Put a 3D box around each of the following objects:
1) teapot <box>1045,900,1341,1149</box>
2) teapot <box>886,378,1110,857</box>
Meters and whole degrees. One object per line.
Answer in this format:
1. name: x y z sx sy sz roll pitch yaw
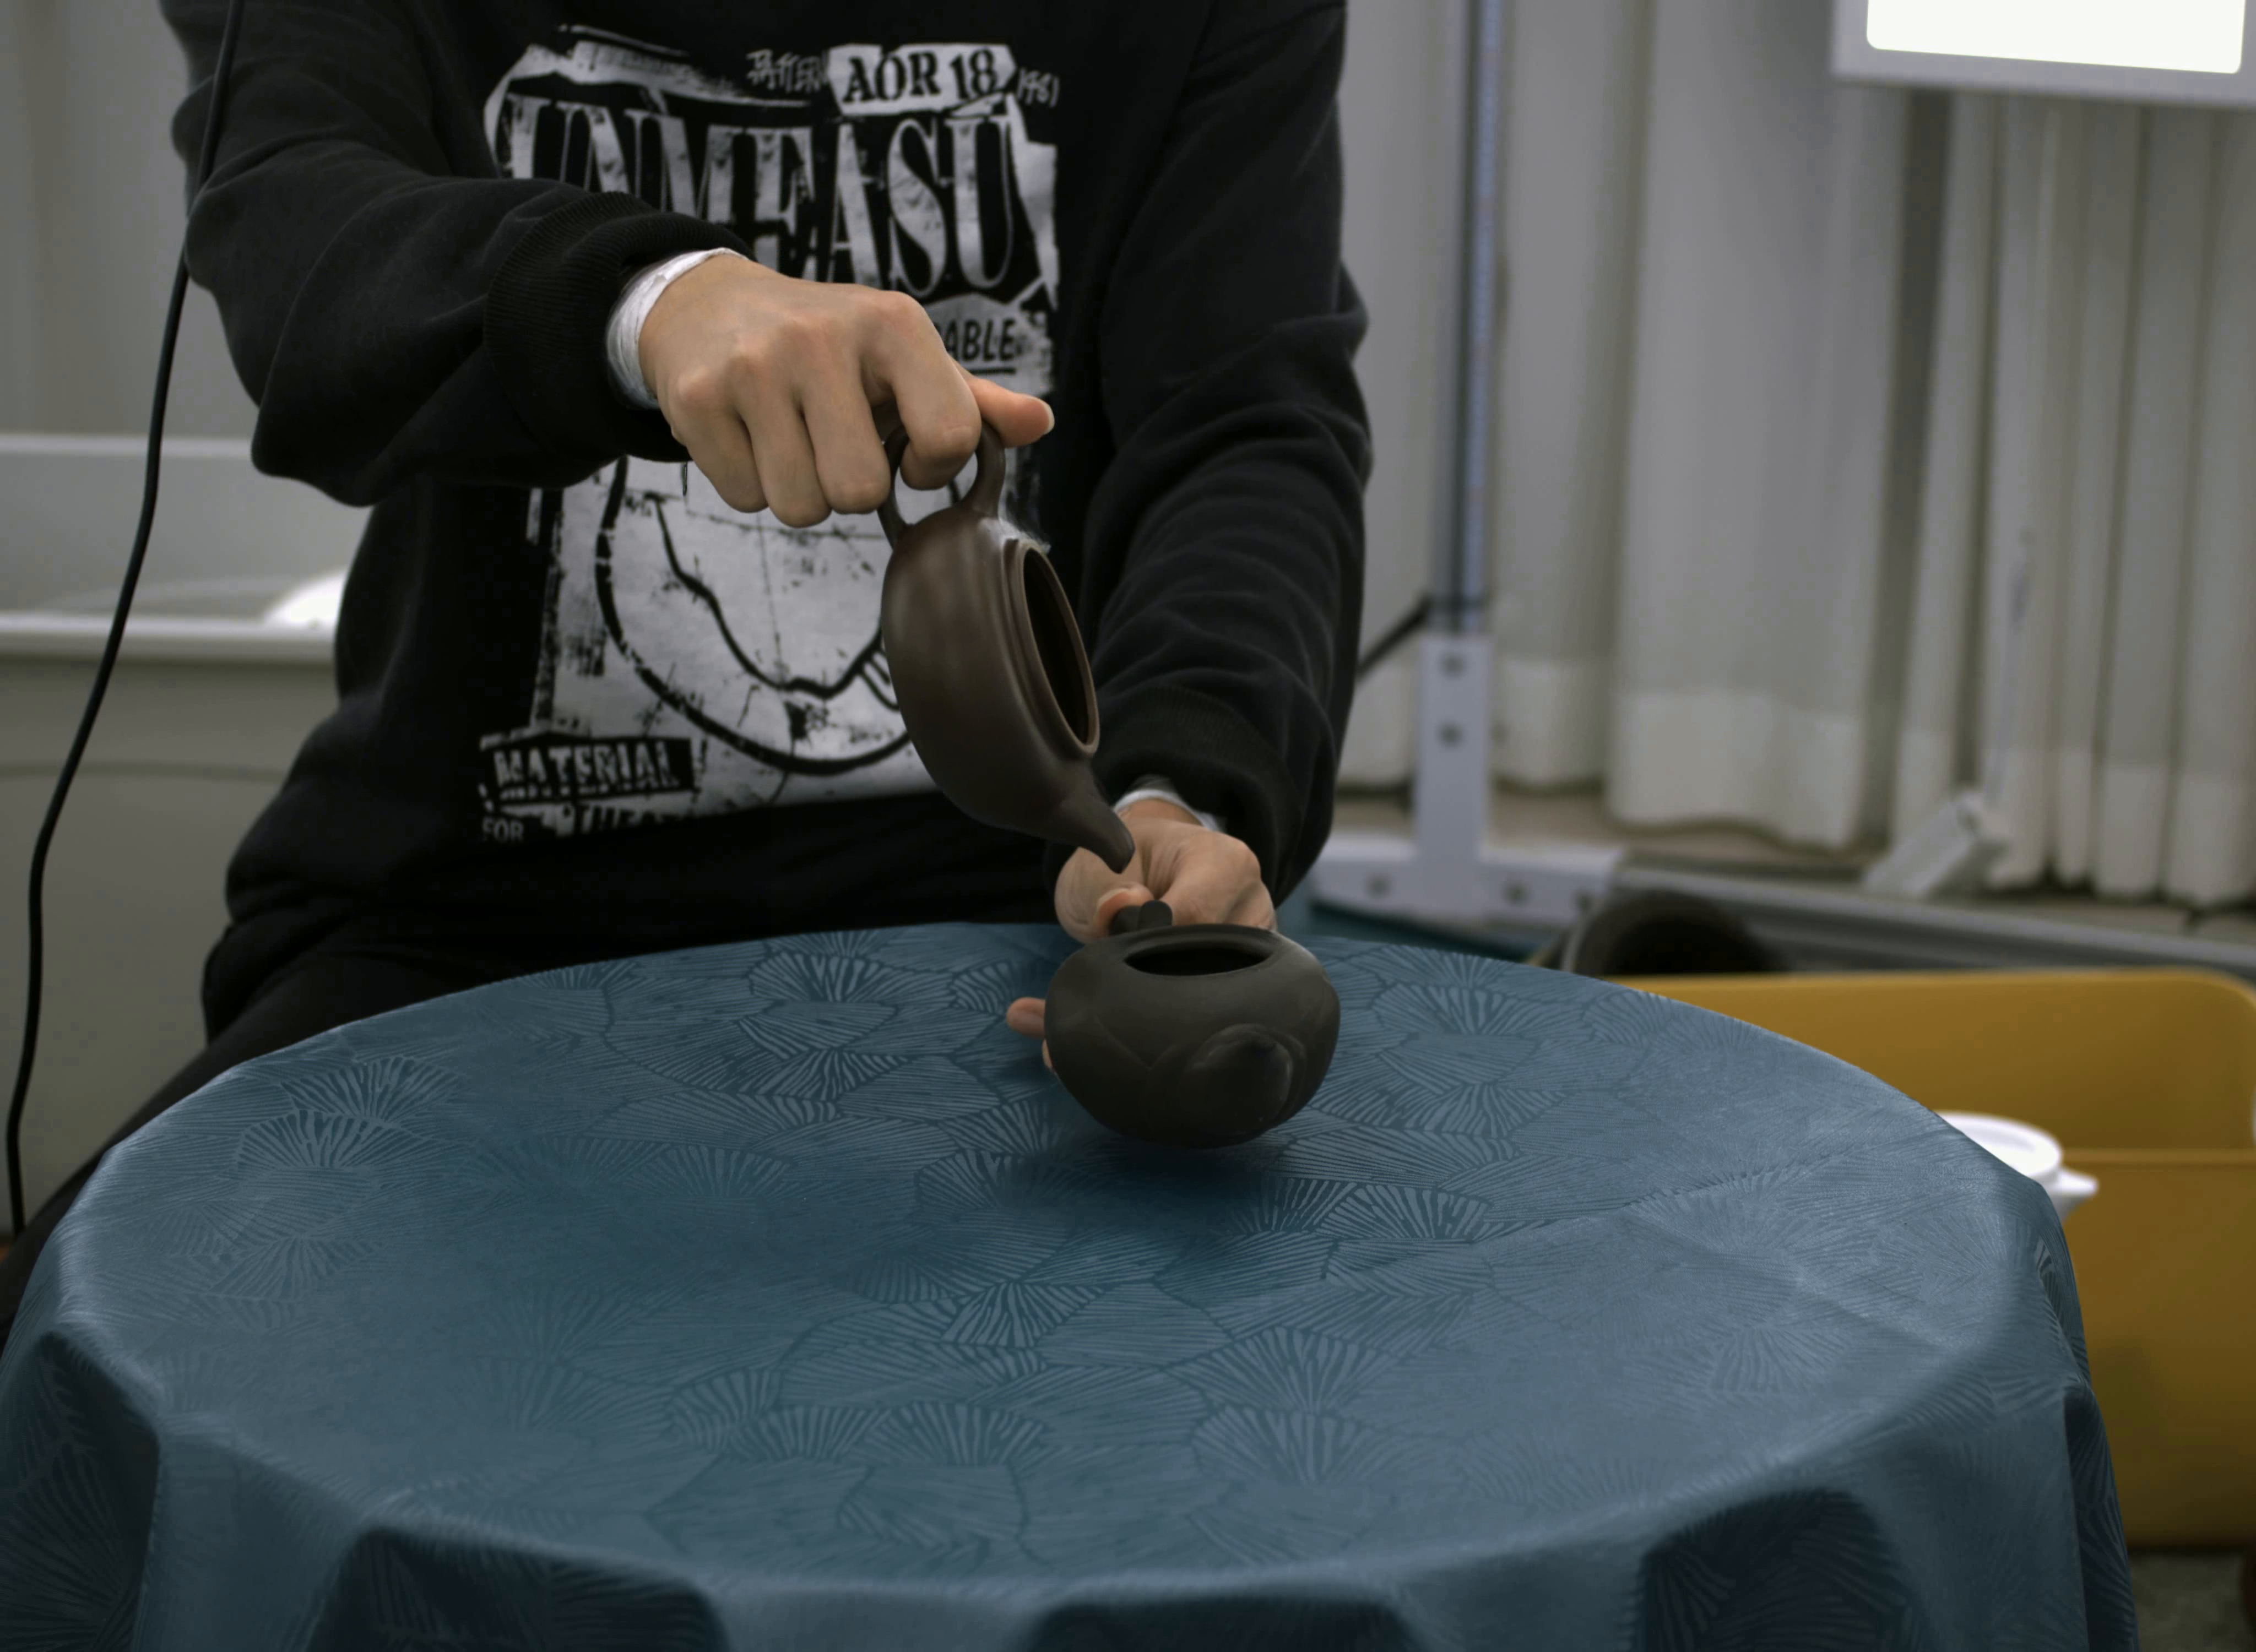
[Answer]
1. teapot: 0.019 0.063 1.648 0.092 0.065 0.152 -4 16 -16
2. teapot: -0.043 -0.062 1.626 0.053 0.155 0.102 -8 15 8
